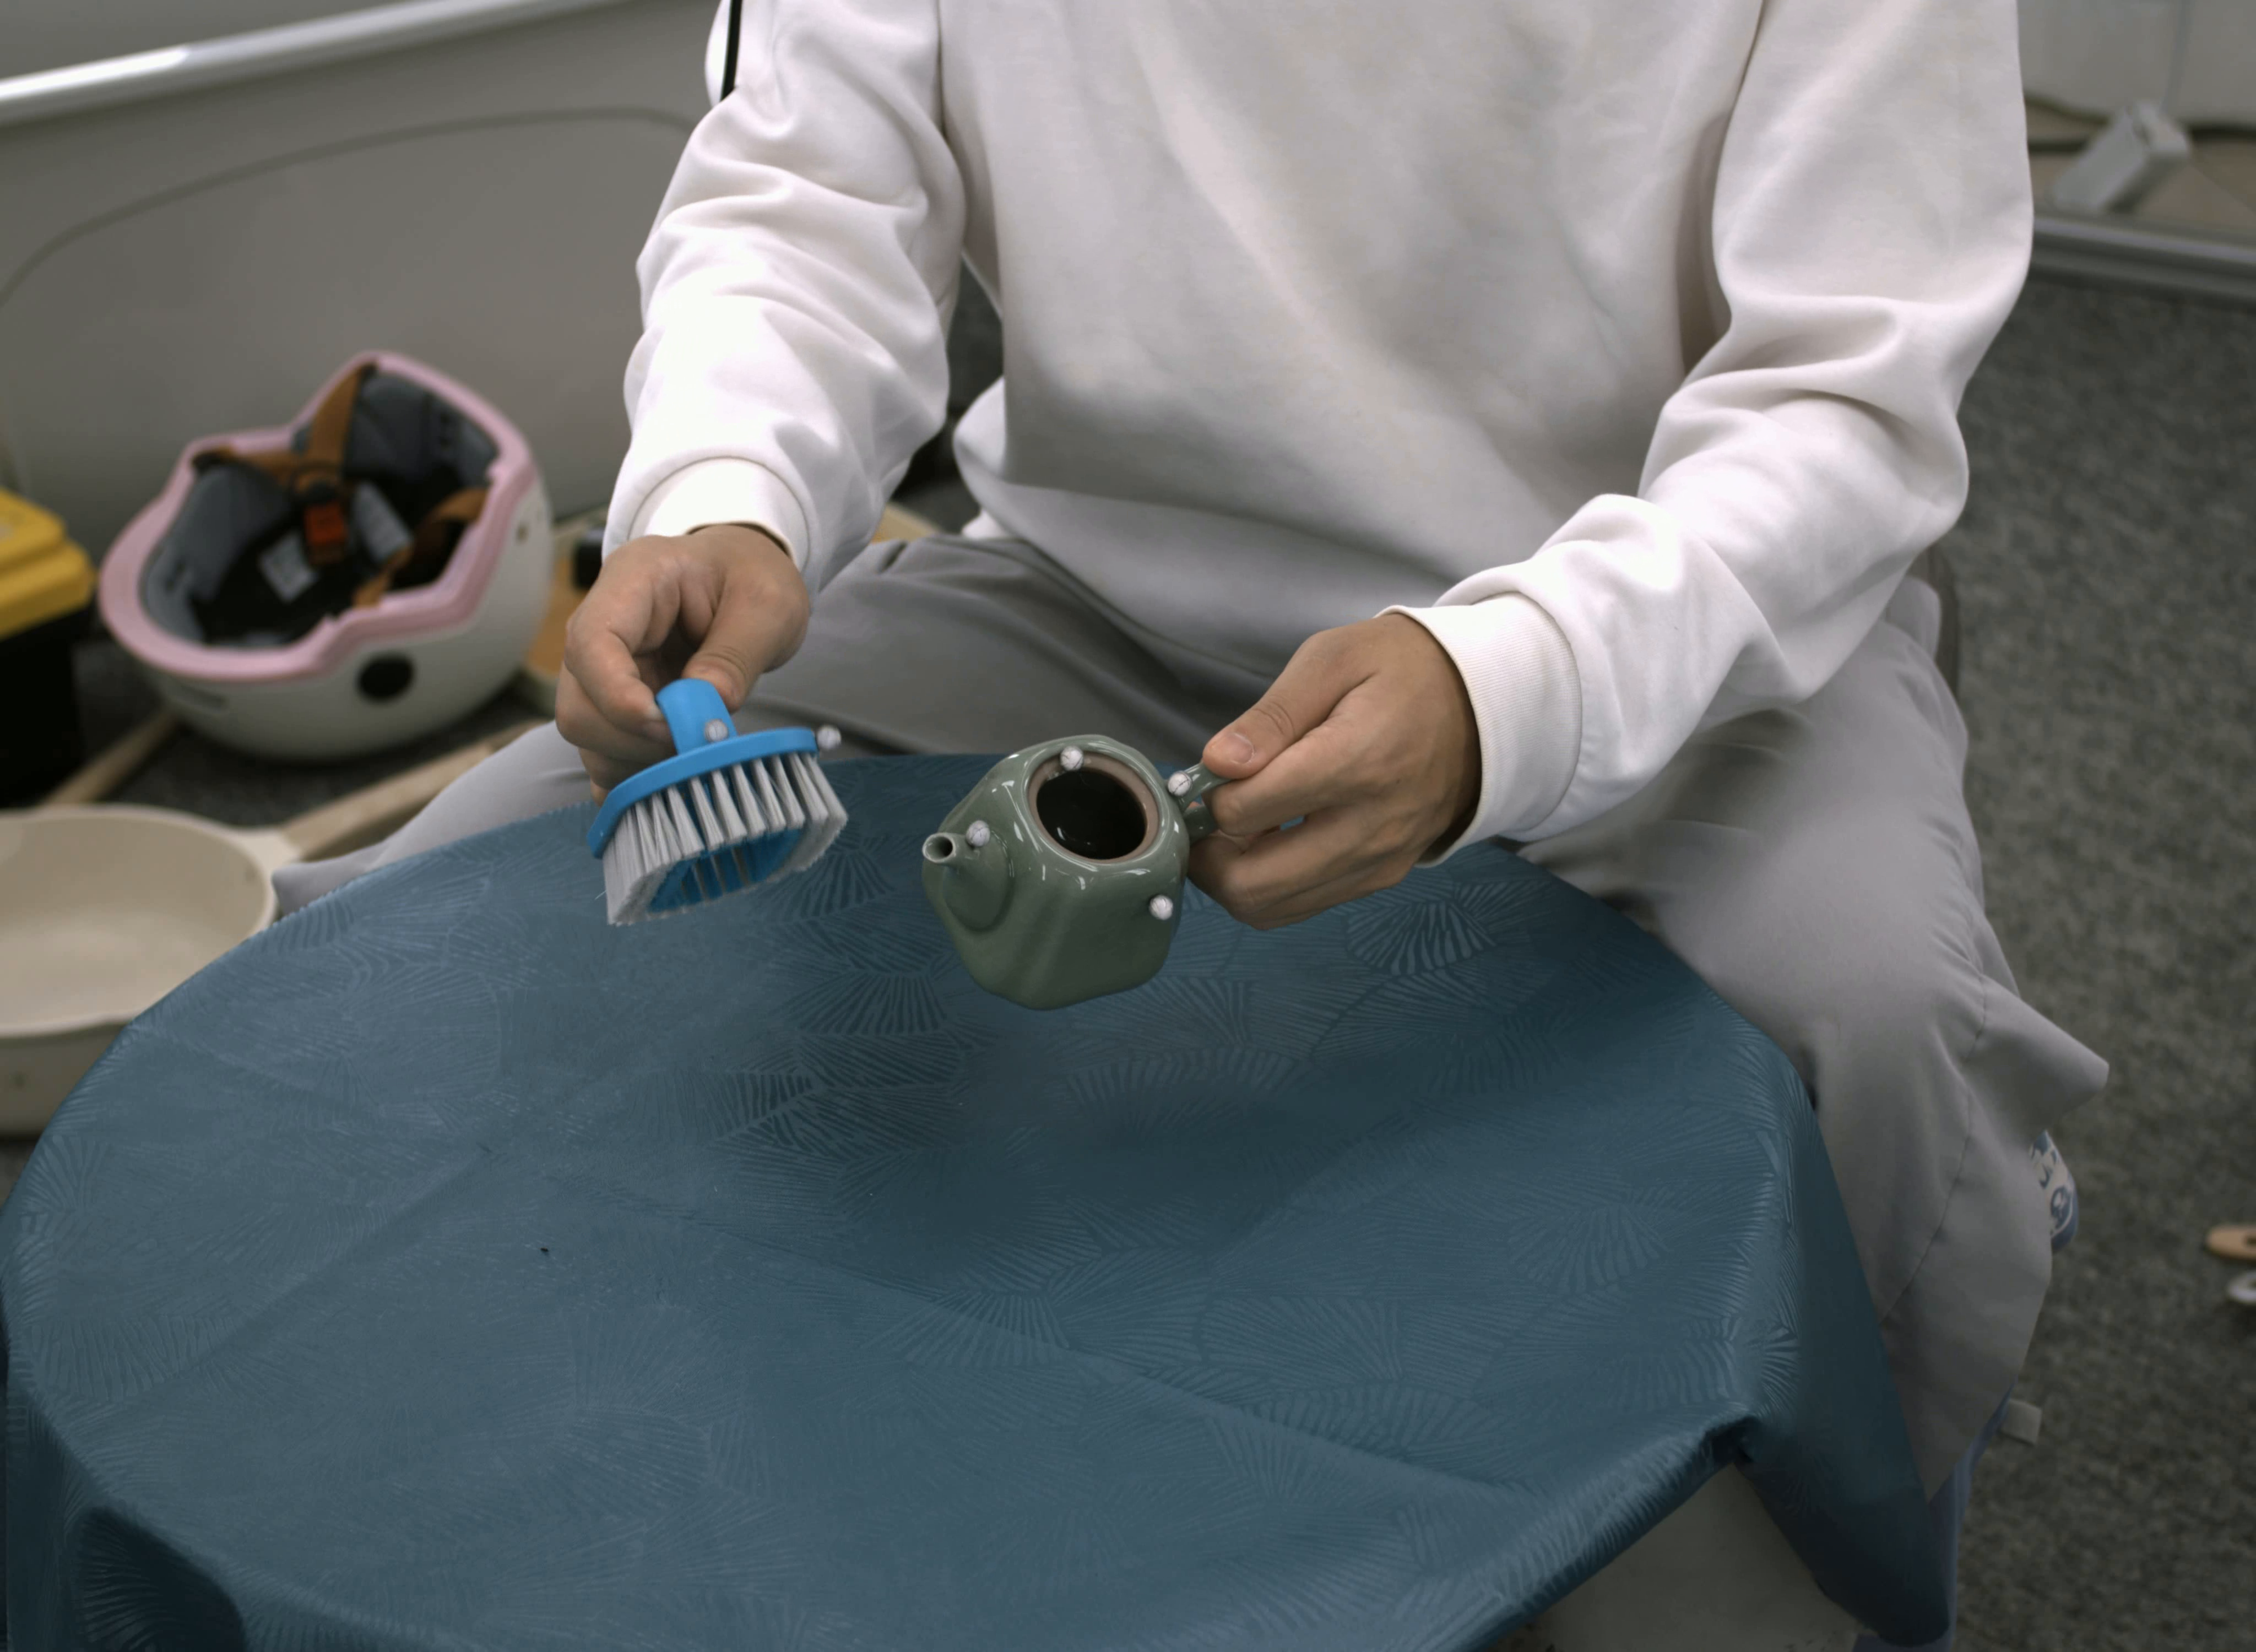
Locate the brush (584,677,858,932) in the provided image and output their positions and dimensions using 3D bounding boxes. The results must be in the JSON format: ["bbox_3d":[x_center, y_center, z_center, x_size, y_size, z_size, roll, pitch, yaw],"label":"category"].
[{"bbox_3d":[-0.143,-0.013,1.887,0.084,0.064,0.140,-21,-8,-13],"label":"brush"}]

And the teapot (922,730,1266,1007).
[{"bbox_3d":[-0.019,0.011,1.869,0.133,0.074,0.080,-13,61,-30],"label":"teapot"}]
